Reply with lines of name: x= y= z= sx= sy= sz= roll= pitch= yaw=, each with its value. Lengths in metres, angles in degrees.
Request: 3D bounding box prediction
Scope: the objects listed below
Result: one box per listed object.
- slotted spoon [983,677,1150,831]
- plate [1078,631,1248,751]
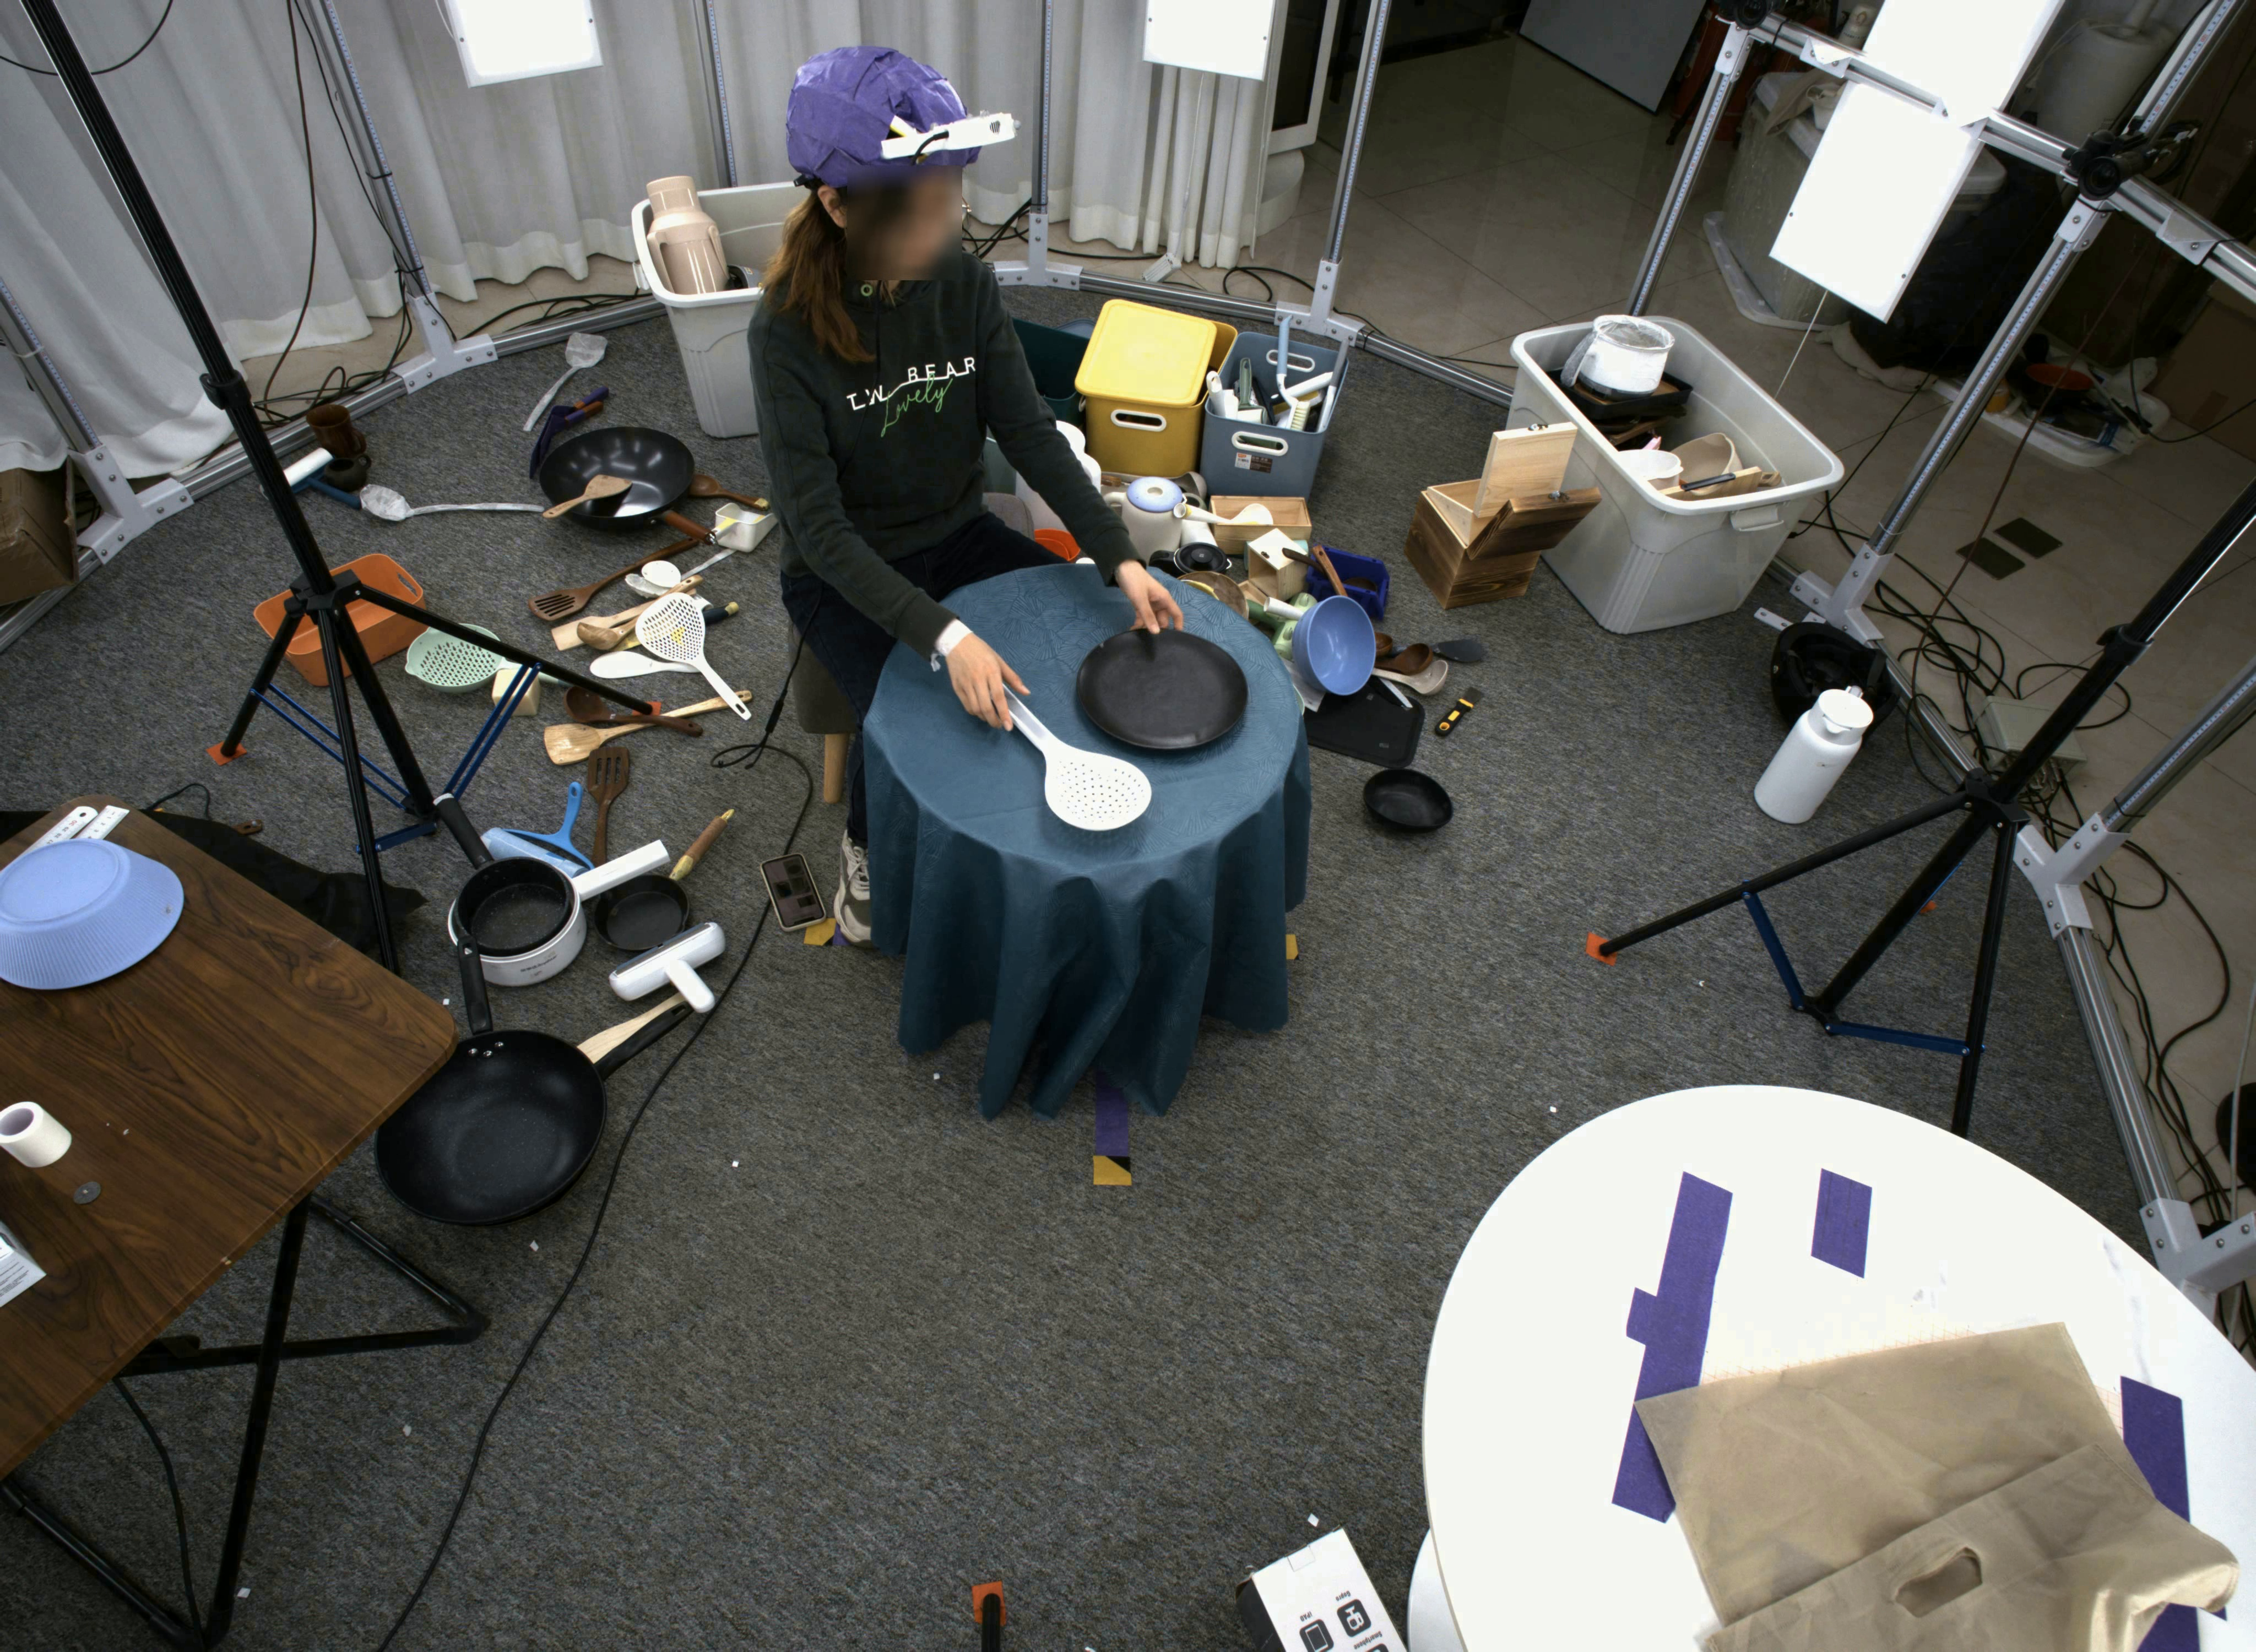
slotted spoon: x=-0.100 y=-0.103 z=1.737 sx=0.136 sy=0.044 sz=0.357 roll=-24 pitch=54 yaw=-25
plate: x=0.050 y=-0.192 z=1.840 sx=0.244 sy=0.023 sz=0.250 roll=2 pitch=49 yaw=-2
